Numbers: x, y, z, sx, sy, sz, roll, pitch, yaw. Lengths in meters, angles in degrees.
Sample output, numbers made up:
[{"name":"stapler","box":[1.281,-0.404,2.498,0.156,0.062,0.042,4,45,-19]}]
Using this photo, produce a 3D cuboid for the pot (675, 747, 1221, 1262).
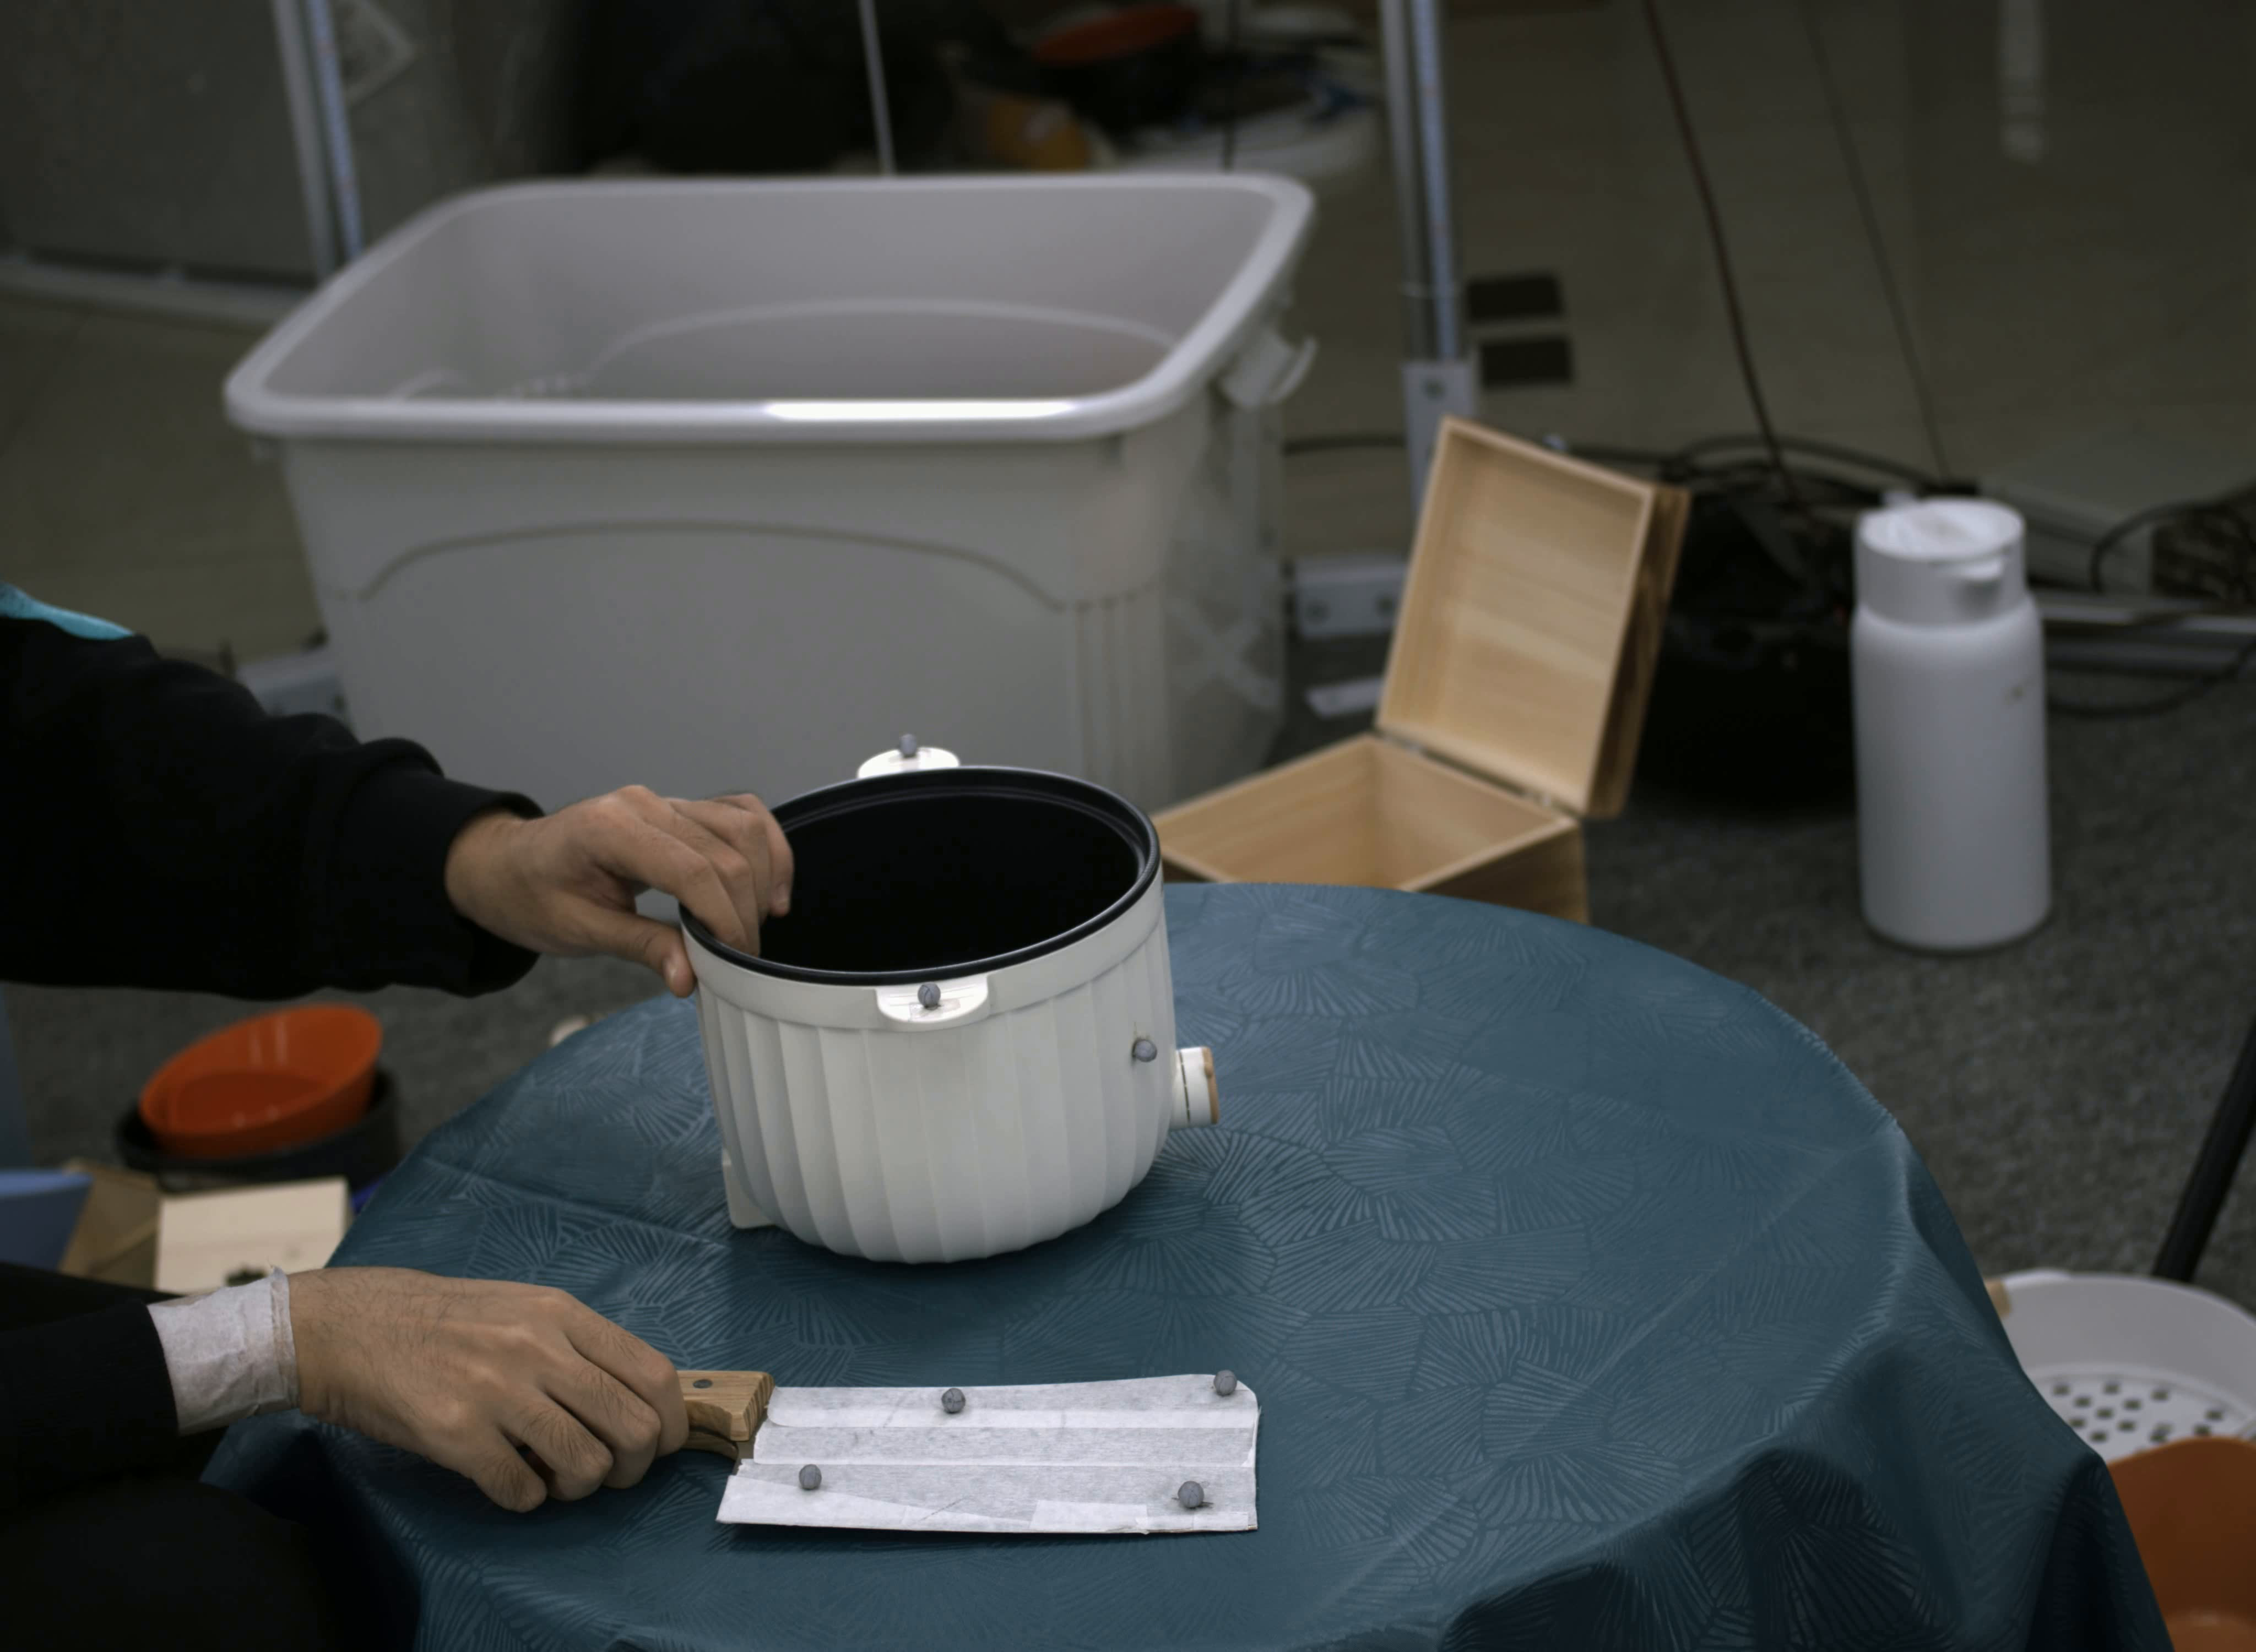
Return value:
[{"name":"pot","box":[-0.066,0.073,2.136,0.190,0.145,0.237,-10,26,0]}]

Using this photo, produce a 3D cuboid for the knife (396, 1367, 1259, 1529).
[{"name":"knife","box":[-0.105,0.215,1.989,0.315,0.022,0.112,1,26,10]}]
